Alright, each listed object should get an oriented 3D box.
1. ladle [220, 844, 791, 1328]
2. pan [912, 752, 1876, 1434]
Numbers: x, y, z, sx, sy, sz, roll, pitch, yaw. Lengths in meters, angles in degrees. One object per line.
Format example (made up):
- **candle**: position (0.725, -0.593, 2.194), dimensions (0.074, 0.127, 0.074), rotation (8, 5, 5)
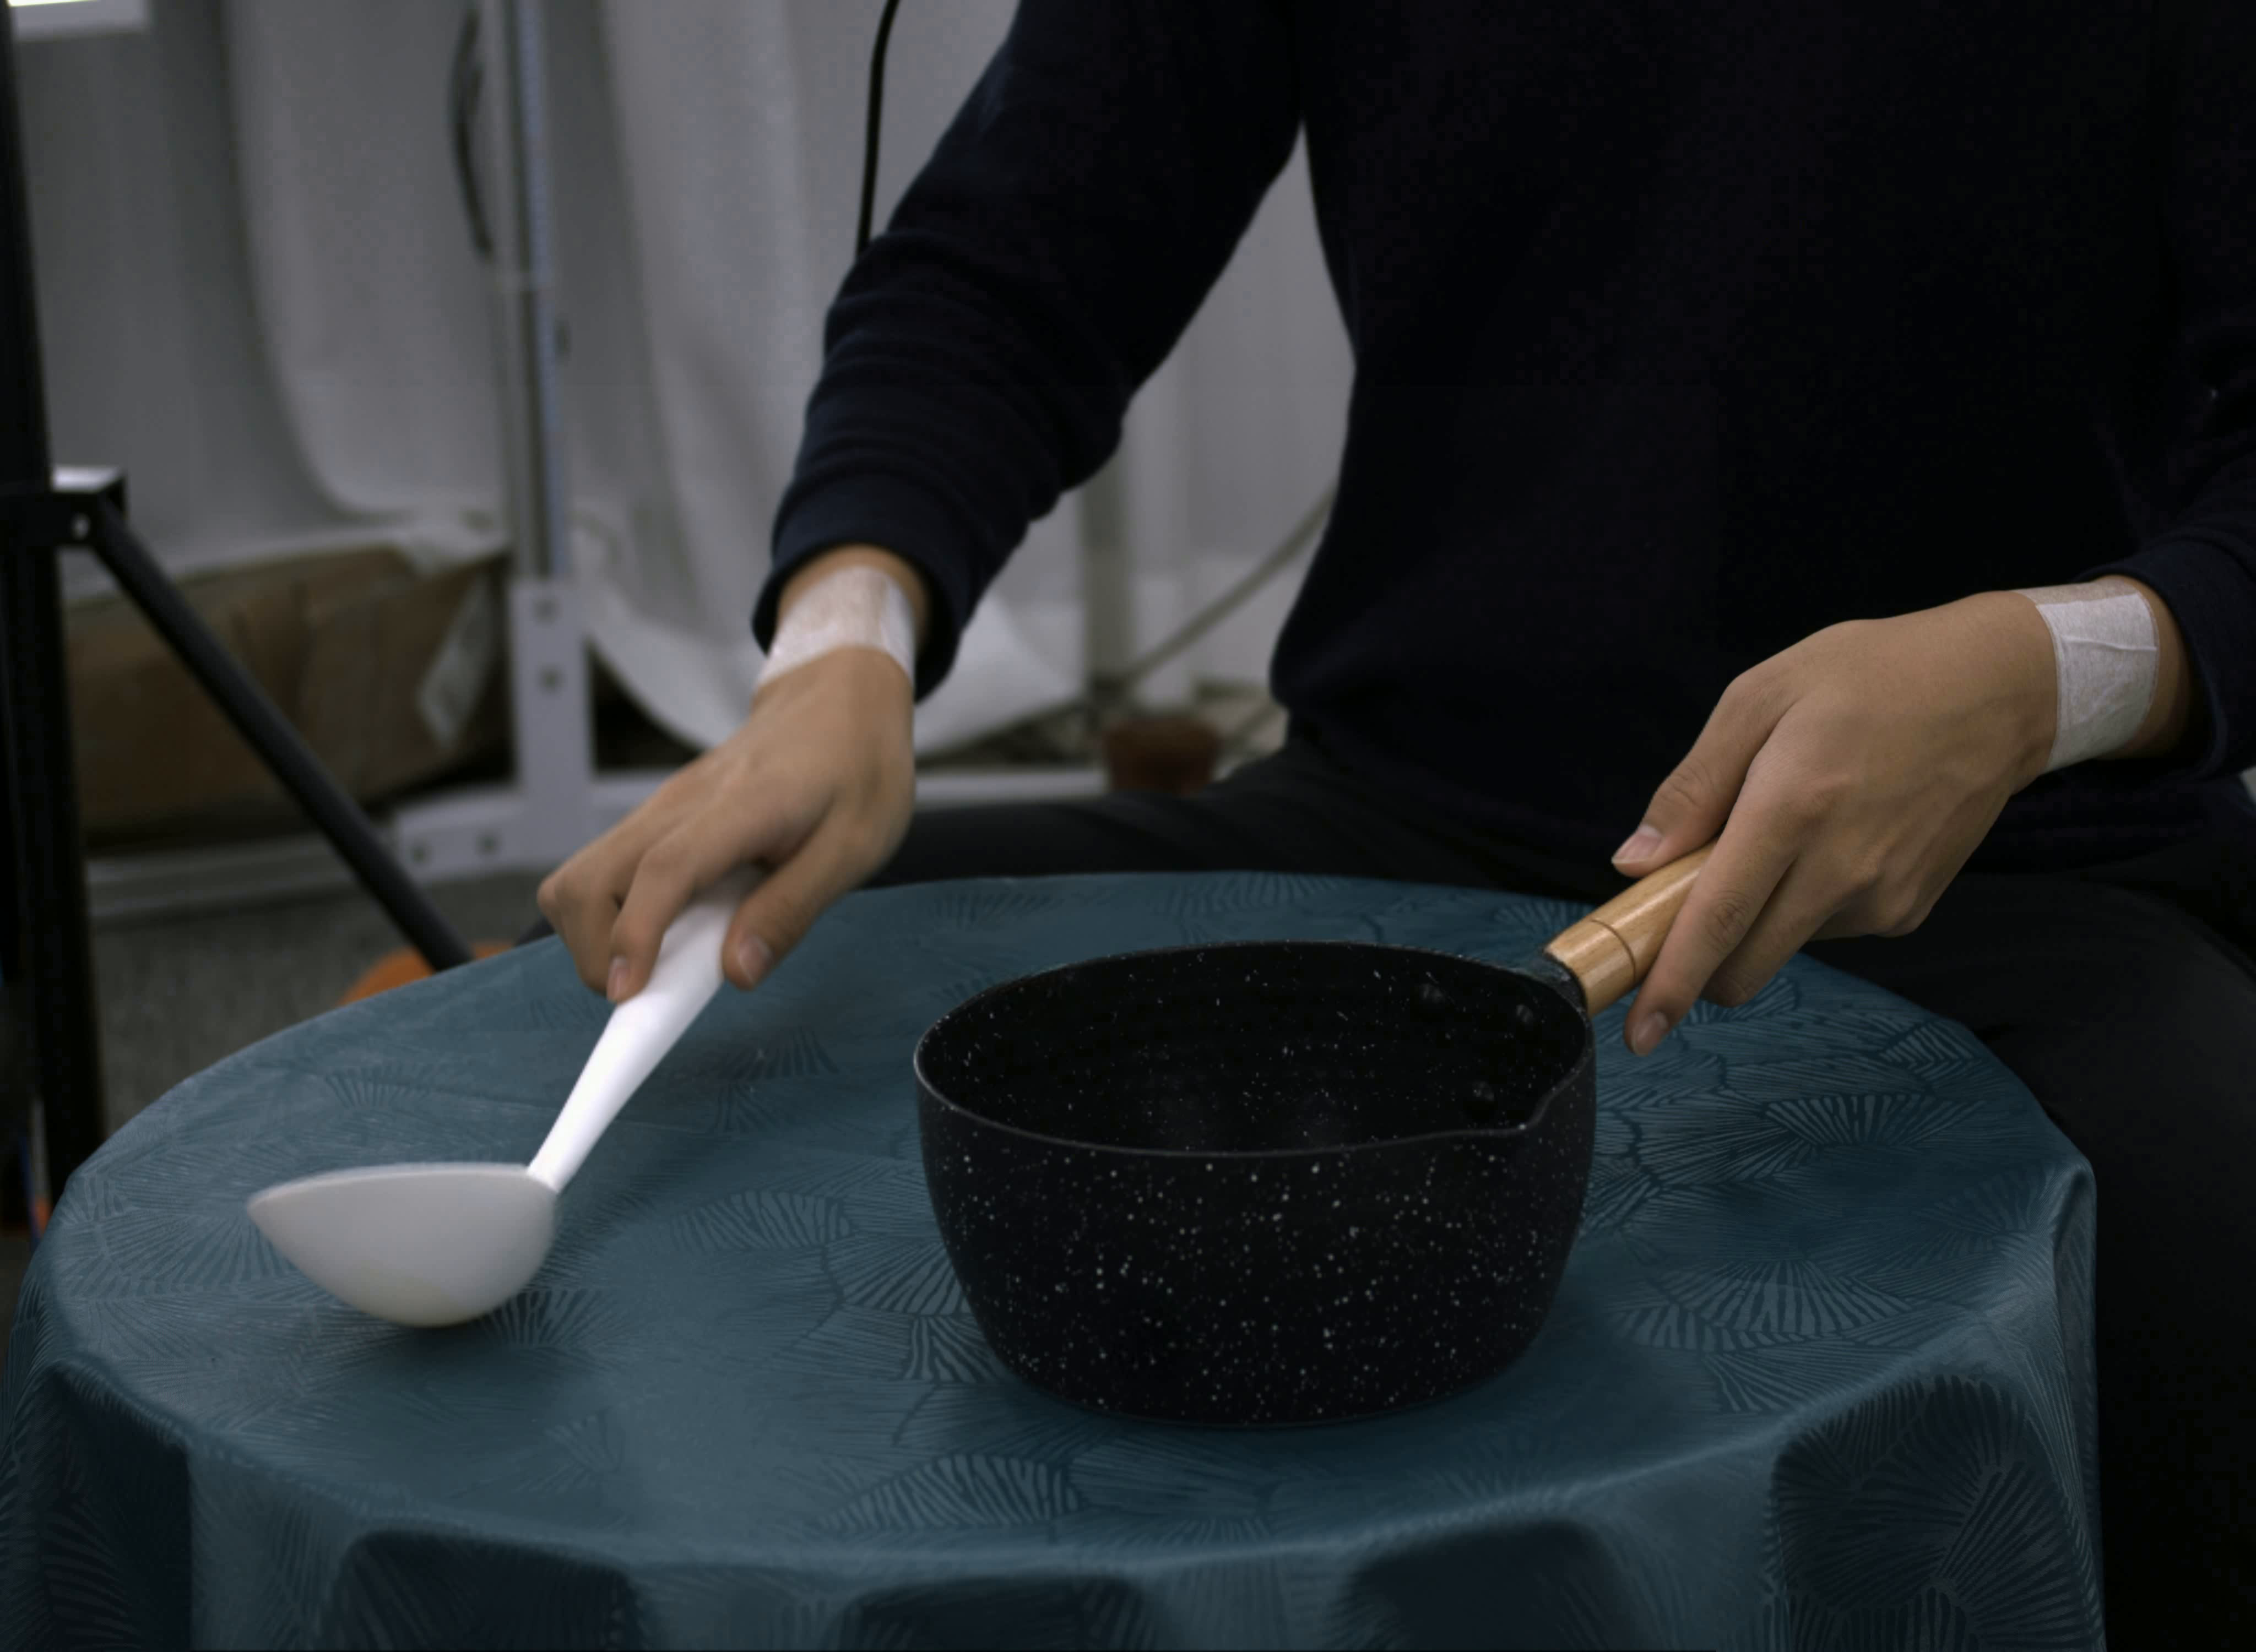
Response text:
- **ladle**: position (-0.170, 0.064, 1.571), dimensions (0.091, 0.069, 0.291), rotation (-19, 18, 25)
- **pan**: position (0.092, 0.069, 1.481), dimensions (0.335, 0.108, 0.212), rotation (-18, 21, -40)
